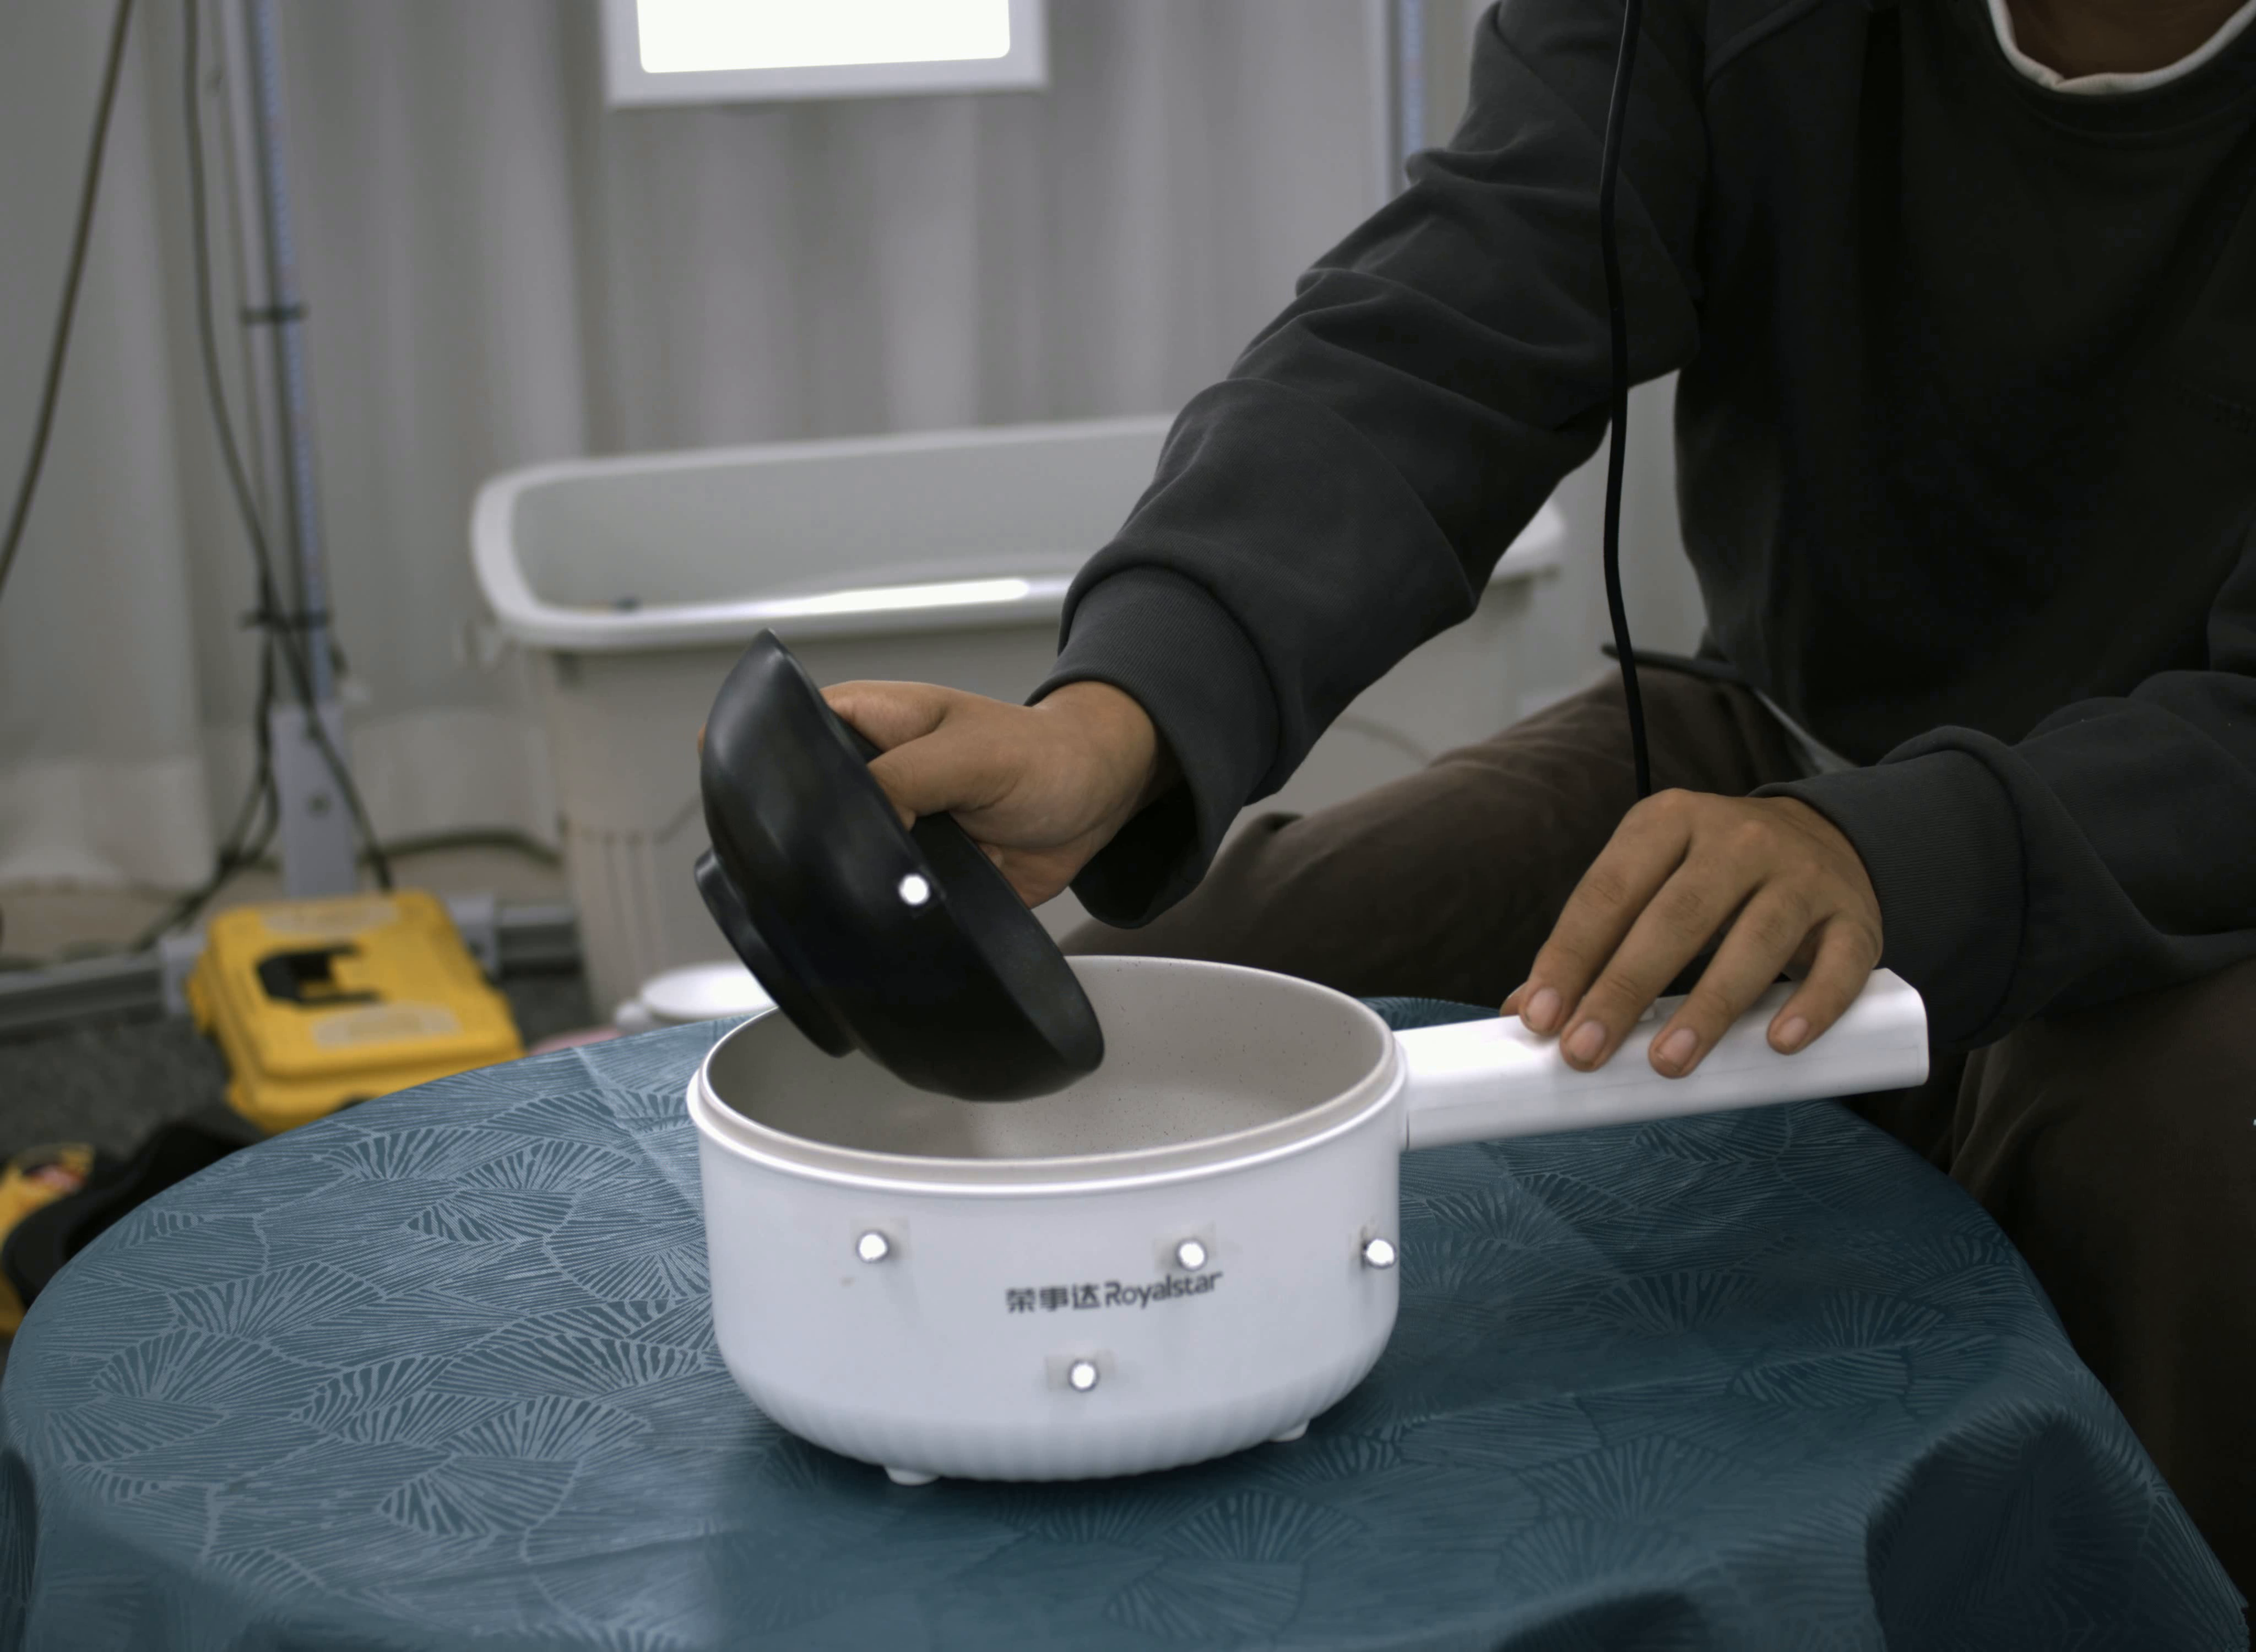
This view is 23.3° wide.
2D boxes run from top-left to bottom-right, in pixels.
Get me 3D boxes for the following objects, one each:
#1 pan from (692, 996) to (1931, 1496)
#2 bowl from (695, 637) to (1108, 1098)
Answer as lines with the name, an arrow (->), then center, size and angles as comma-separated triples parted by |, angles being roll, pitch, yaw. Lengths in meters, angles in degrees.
pan -> 0.054, 0.114, 1.553 | 0.353, 0.102, 0.202 | -4, 11, -12
bowl -> -0.077, 0.020, 1.532 | 0.066, 0.135, 0.173 | -38, 50, 3
